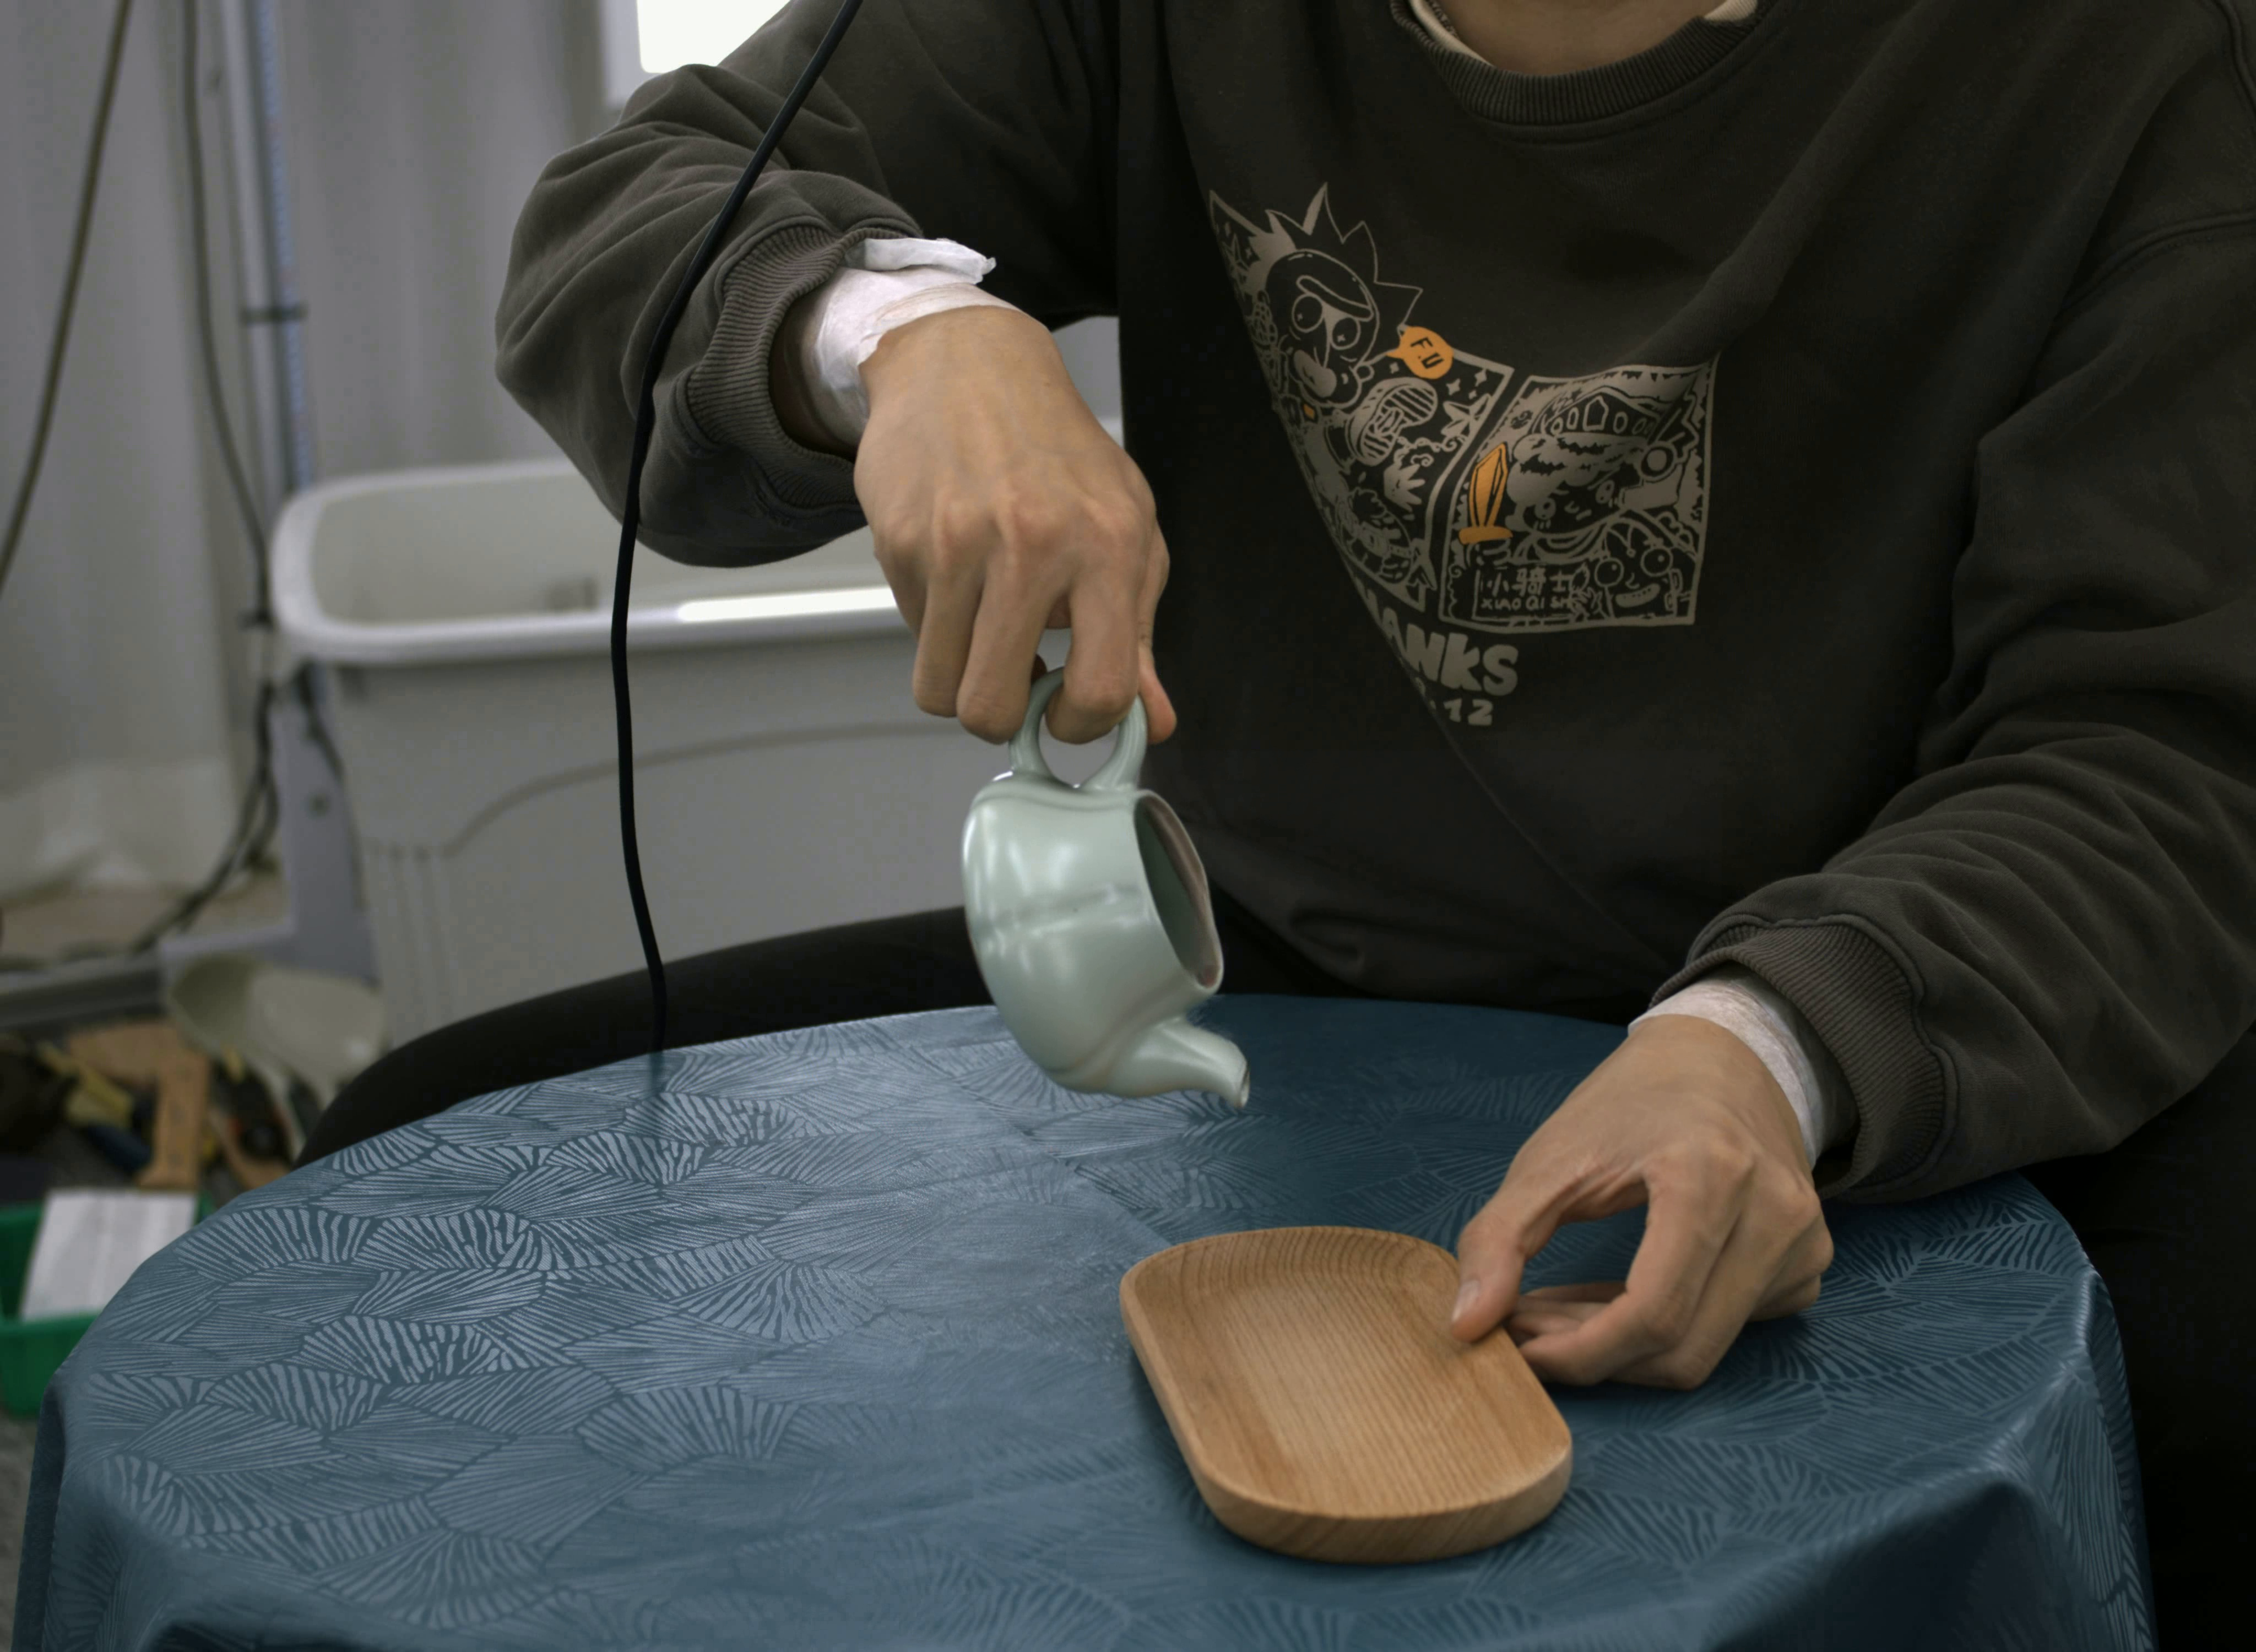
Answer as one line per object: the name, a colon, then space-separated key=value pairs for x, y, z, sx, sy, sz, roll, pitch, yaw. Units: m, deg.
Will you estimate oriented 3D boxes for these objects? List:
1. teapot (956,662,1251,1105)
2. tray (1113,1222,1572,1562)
teapot: x=-0.011 y=0.022 z=1.574 sx=0.061 sy=0.137 sz=0.096 roll=-18 pitch=-4 yaw=17
tray: x=0.057 y=0.155 z=1.527 sx=0.101 sy=0.020 sz=0.233 roll=-5 pitch=14 yaw=-9
